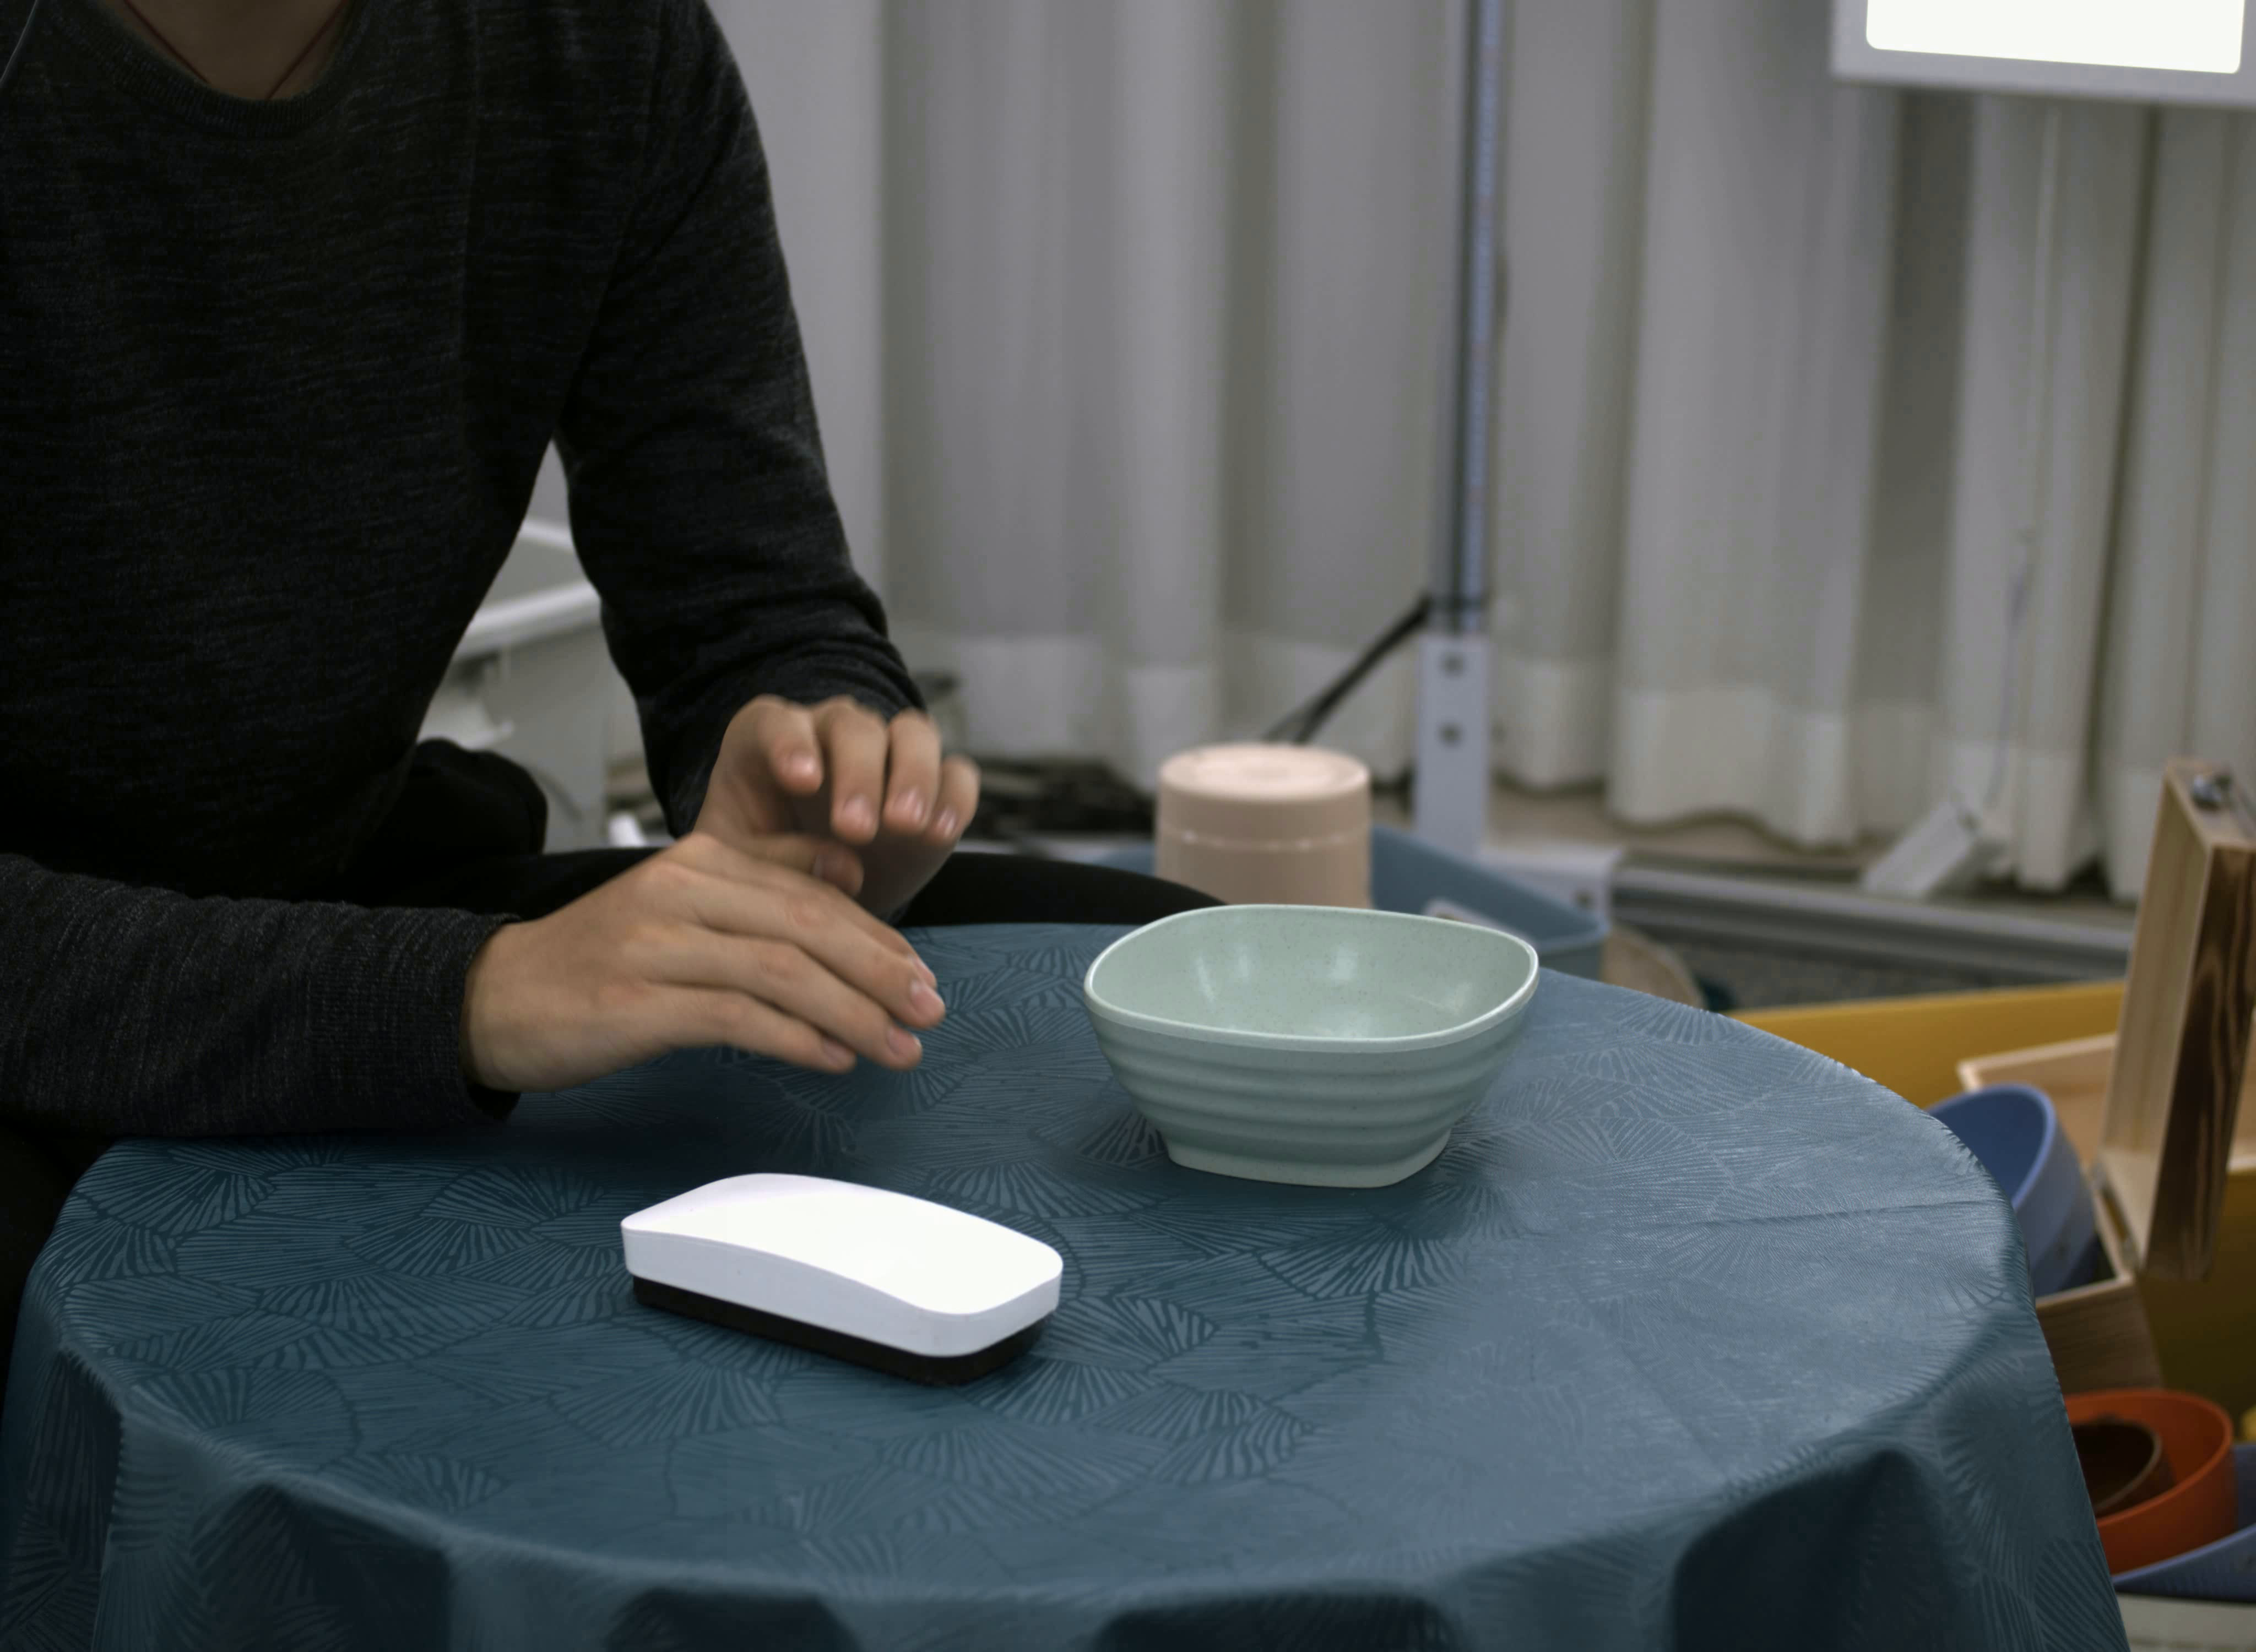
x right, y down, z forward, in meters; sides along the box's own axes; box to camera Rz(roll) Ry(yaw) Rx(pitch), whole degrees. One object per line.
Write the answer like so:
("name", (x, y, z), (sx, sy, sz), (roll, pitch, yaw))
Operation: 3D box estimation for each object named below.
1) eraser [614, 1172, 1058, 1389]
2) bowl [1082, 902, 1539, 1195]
("eraser", (-0.084, 0.126, 1.508), (0.129, 0.035, 0.064), (13, 18, 34))
("bowl", (0.057, 0.073, 1.661), (0.151, 0.059, 0.150), (2, 17, 0))
